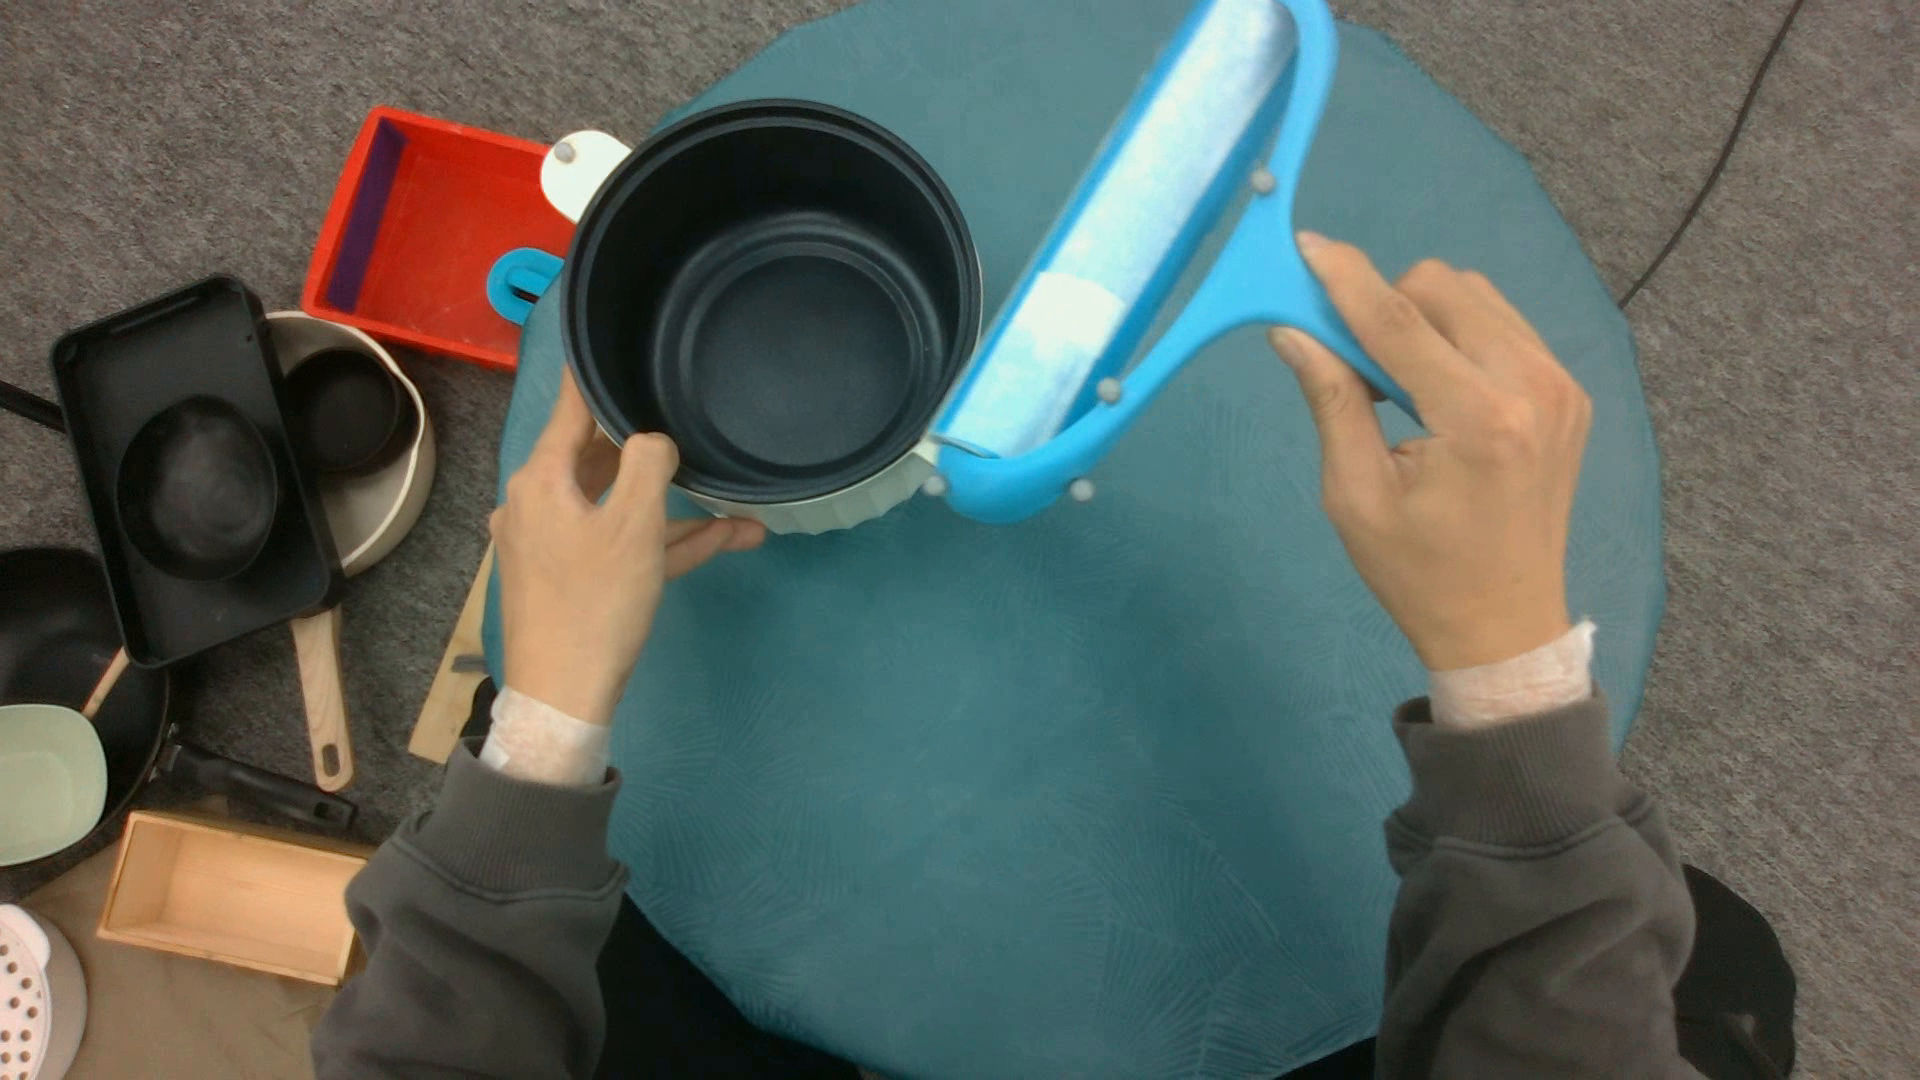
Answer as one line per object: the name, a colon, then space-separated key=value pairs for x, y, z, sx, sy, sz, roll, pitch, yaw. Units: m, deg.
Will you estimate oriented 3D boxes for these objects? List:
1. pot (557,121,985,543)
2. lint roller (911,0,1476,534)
pot: x=-0.074 y=-0.095 z=0.672 sx=0.240 sy=0.142 sz=0.190 roll=33 pitch=86 yaw=6
lint roller: x=0.101 y=-0.082 z=0.496 sx=0.180 sy=0.068 sz=0.229 roll=25 pitch=82 yaw=19
